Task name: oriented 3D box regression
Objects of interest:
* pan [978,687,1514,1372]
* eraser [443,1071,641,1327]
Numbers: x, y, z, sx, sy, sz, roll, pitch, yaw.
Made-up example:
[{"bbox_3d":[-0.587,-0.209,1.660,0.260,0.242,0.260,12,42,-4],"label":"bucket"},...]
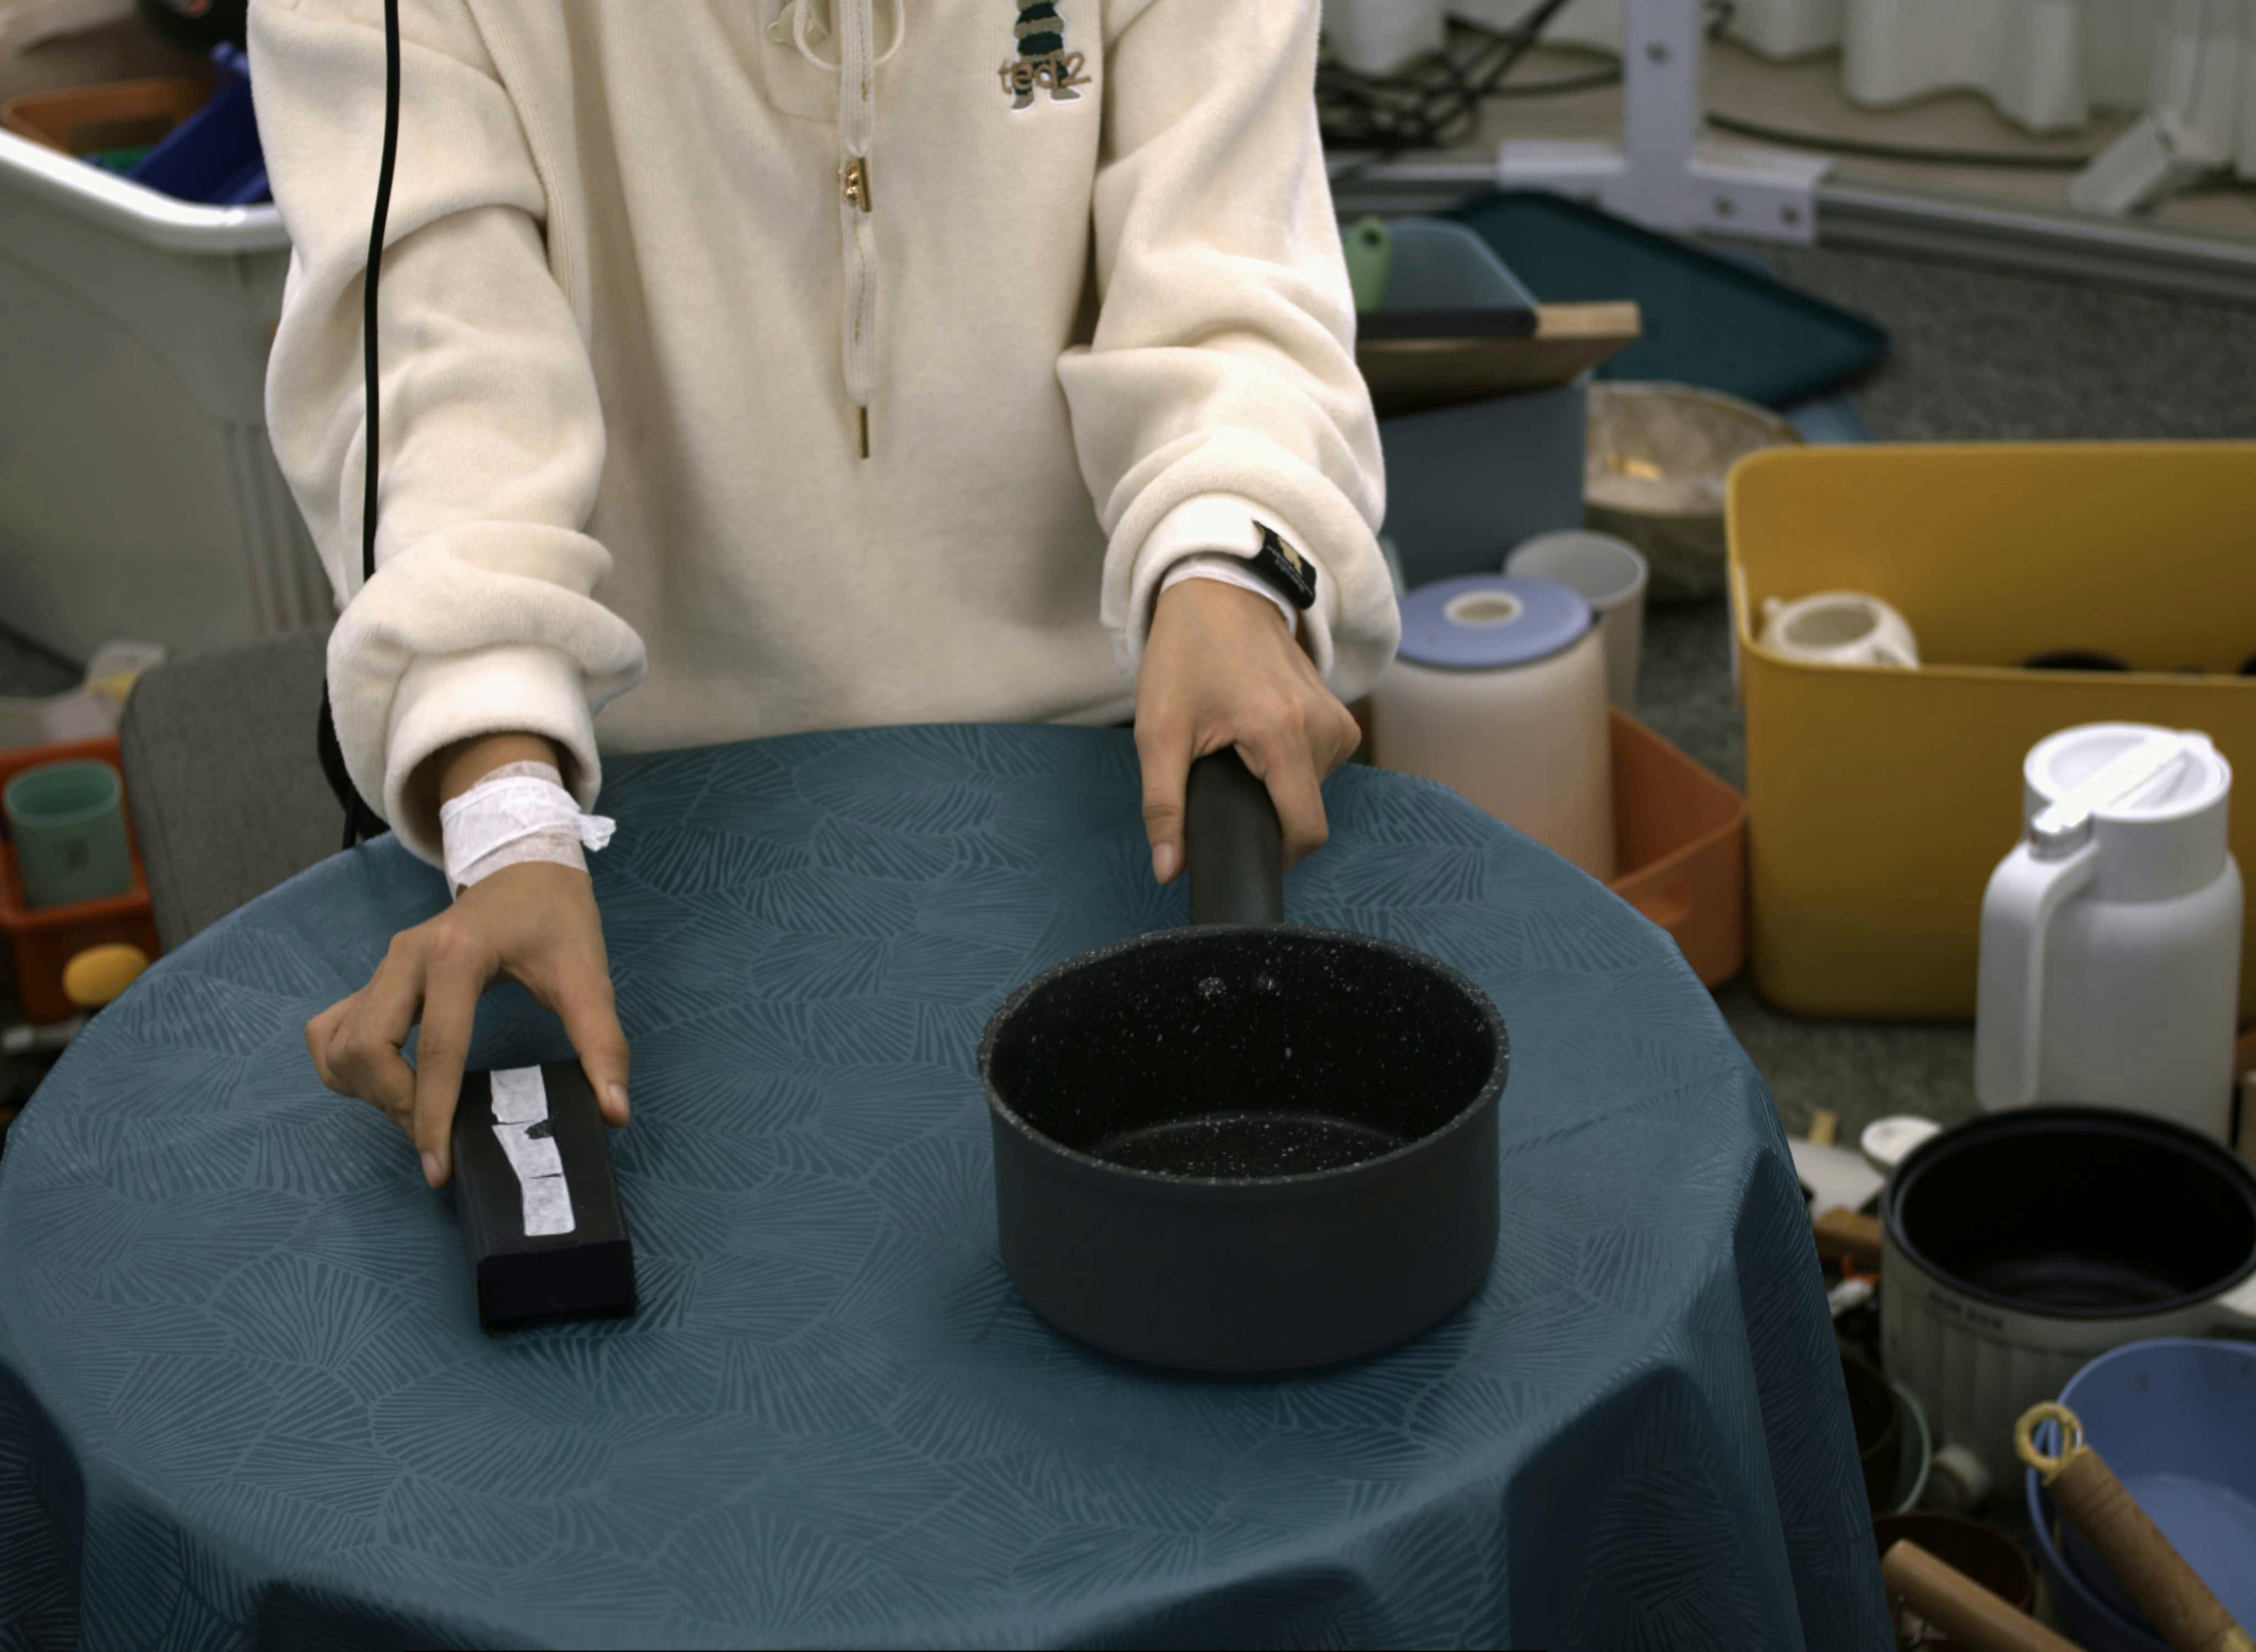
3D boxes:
[{"bbox_3d":[0.041,0.064,1.878,0.171,0.085,0.334,0,28,2],"label":"pan"},{"bbox_3d":[-0.193,0.122,1.849,0.053,0.030,0.127,-4,26,-11],"label":"eraser"}]
